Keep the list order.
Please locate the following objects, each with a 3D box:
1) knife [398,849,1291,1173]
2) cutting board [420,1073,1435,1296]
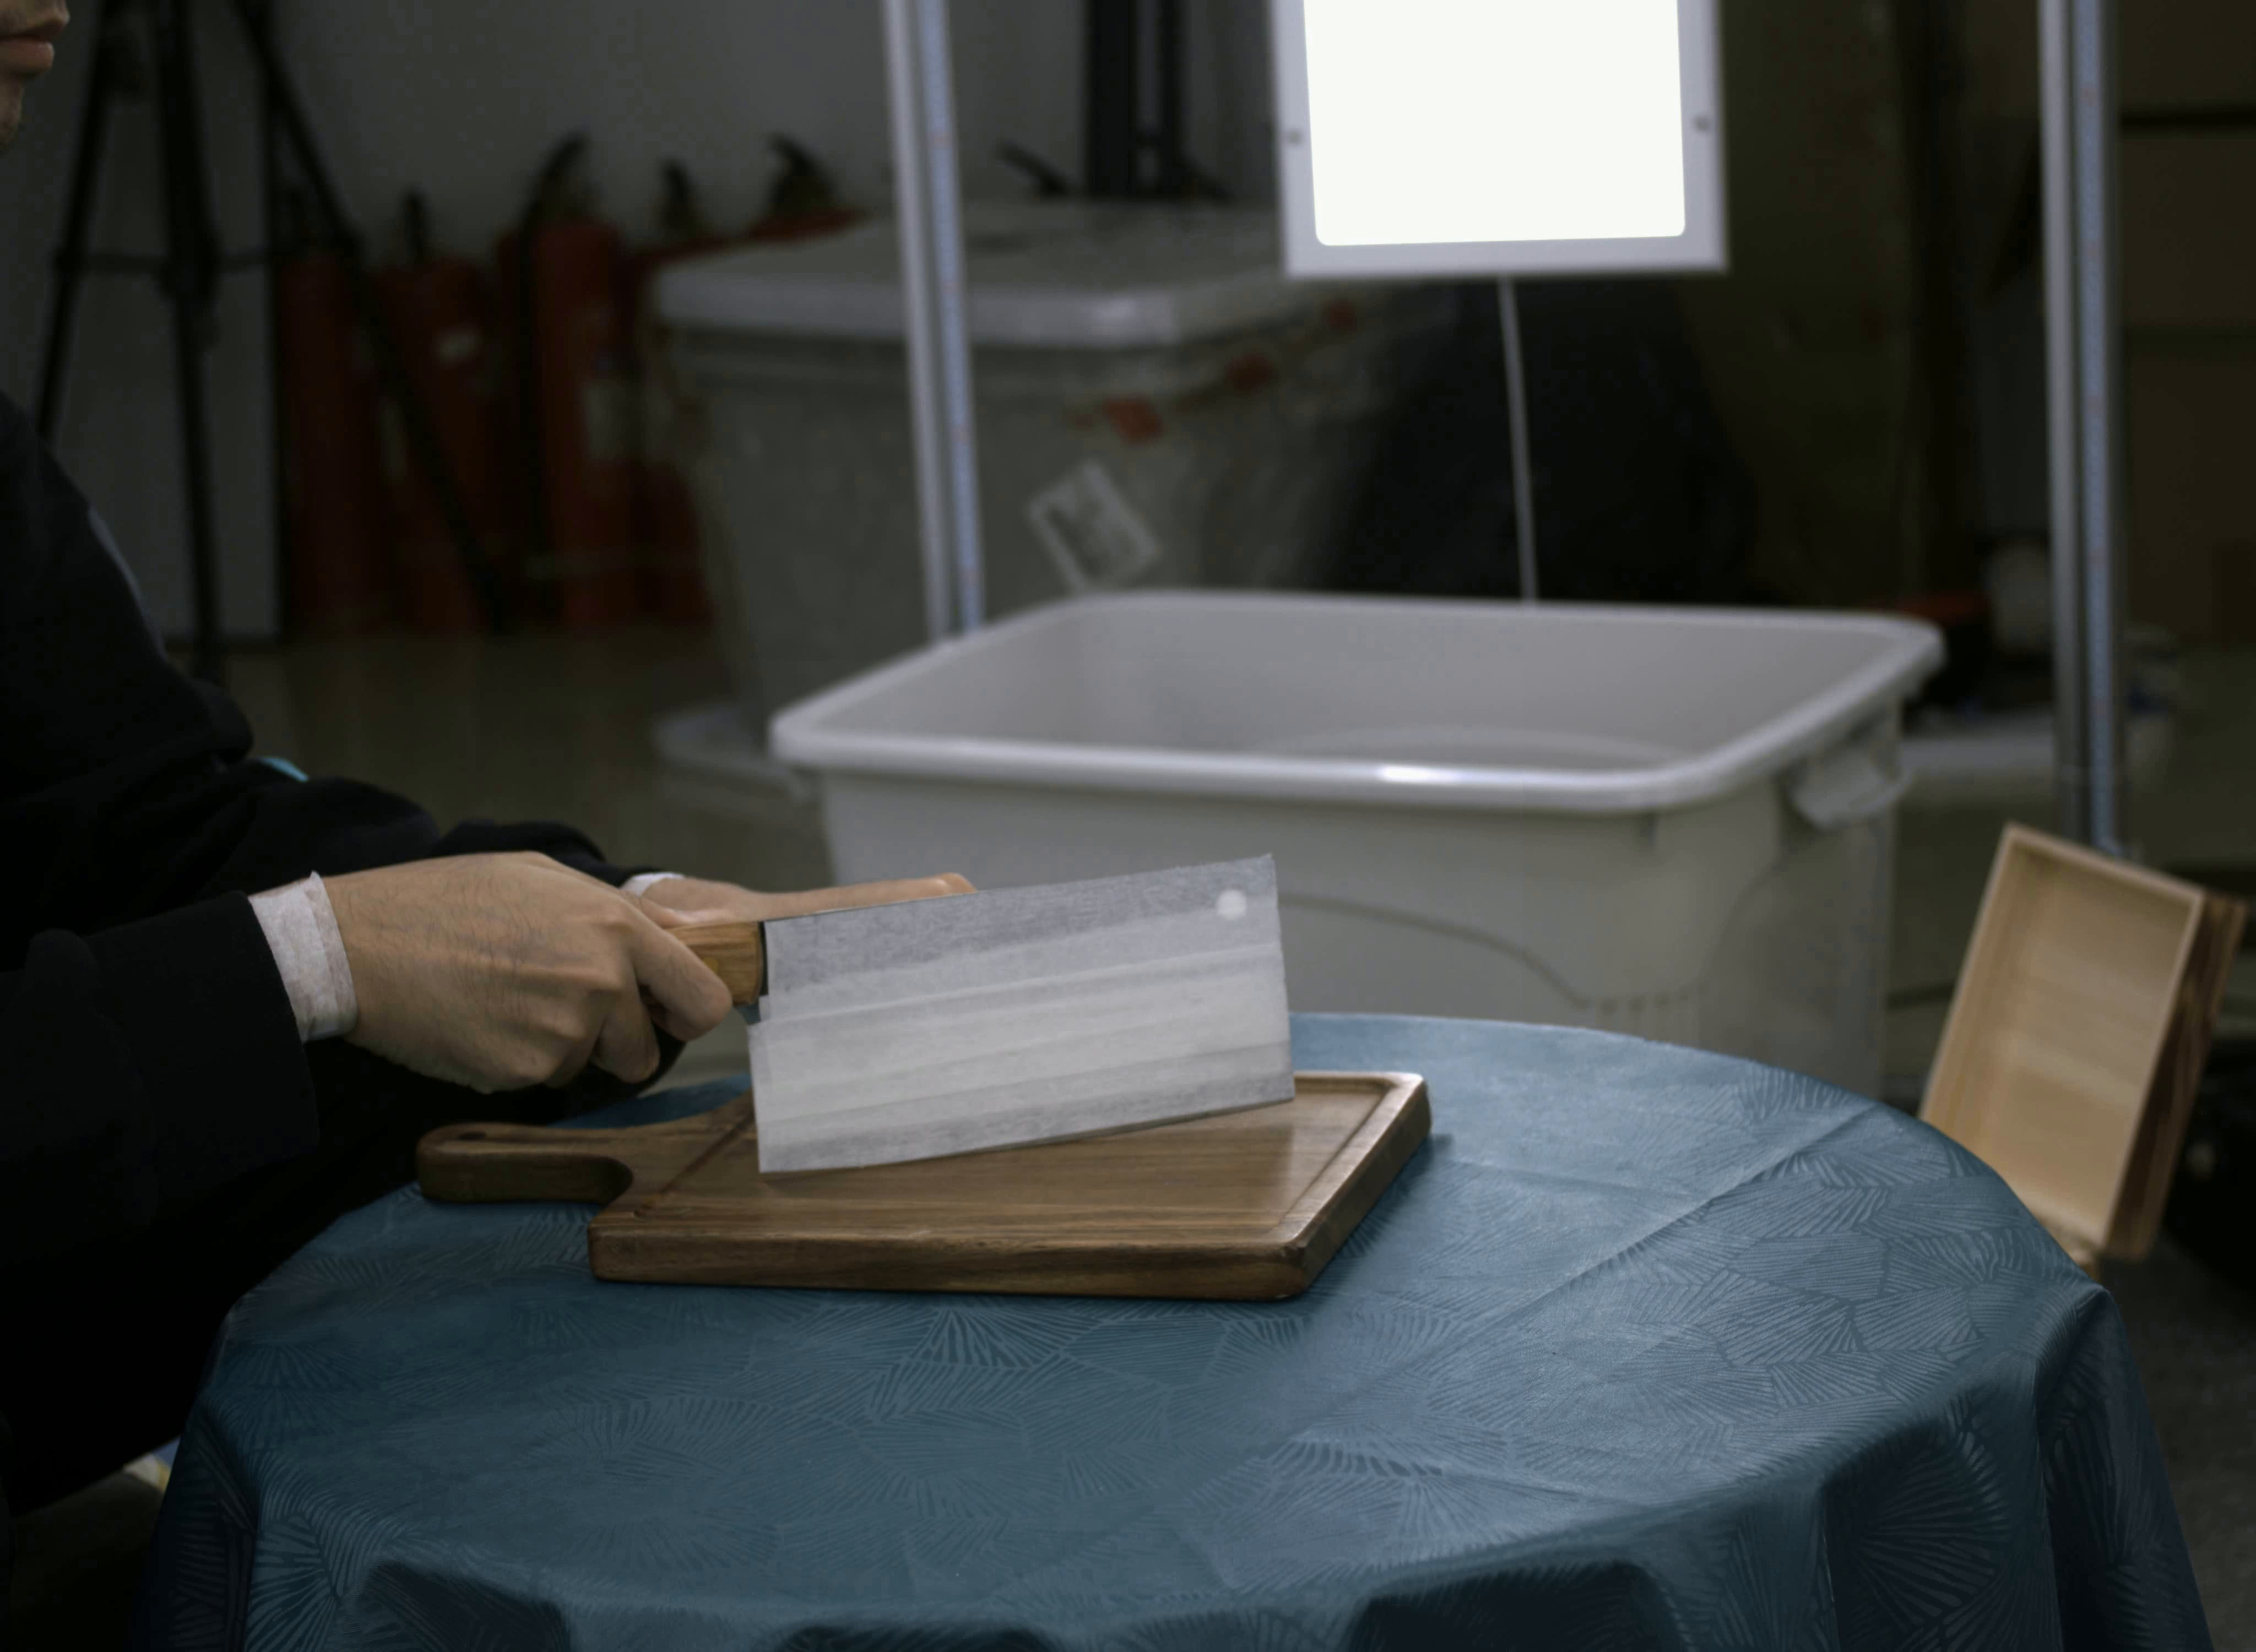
[{"bbox_3d":[-0.094,0.070,1.890,0.303,0.093,0.021,-8,12,-6],"label":"knife"},{"bbox_3d":[-0.082,0.124,1.913,0.357,0.023,0.198,-2,13,20],"label":"cutting board"}]
